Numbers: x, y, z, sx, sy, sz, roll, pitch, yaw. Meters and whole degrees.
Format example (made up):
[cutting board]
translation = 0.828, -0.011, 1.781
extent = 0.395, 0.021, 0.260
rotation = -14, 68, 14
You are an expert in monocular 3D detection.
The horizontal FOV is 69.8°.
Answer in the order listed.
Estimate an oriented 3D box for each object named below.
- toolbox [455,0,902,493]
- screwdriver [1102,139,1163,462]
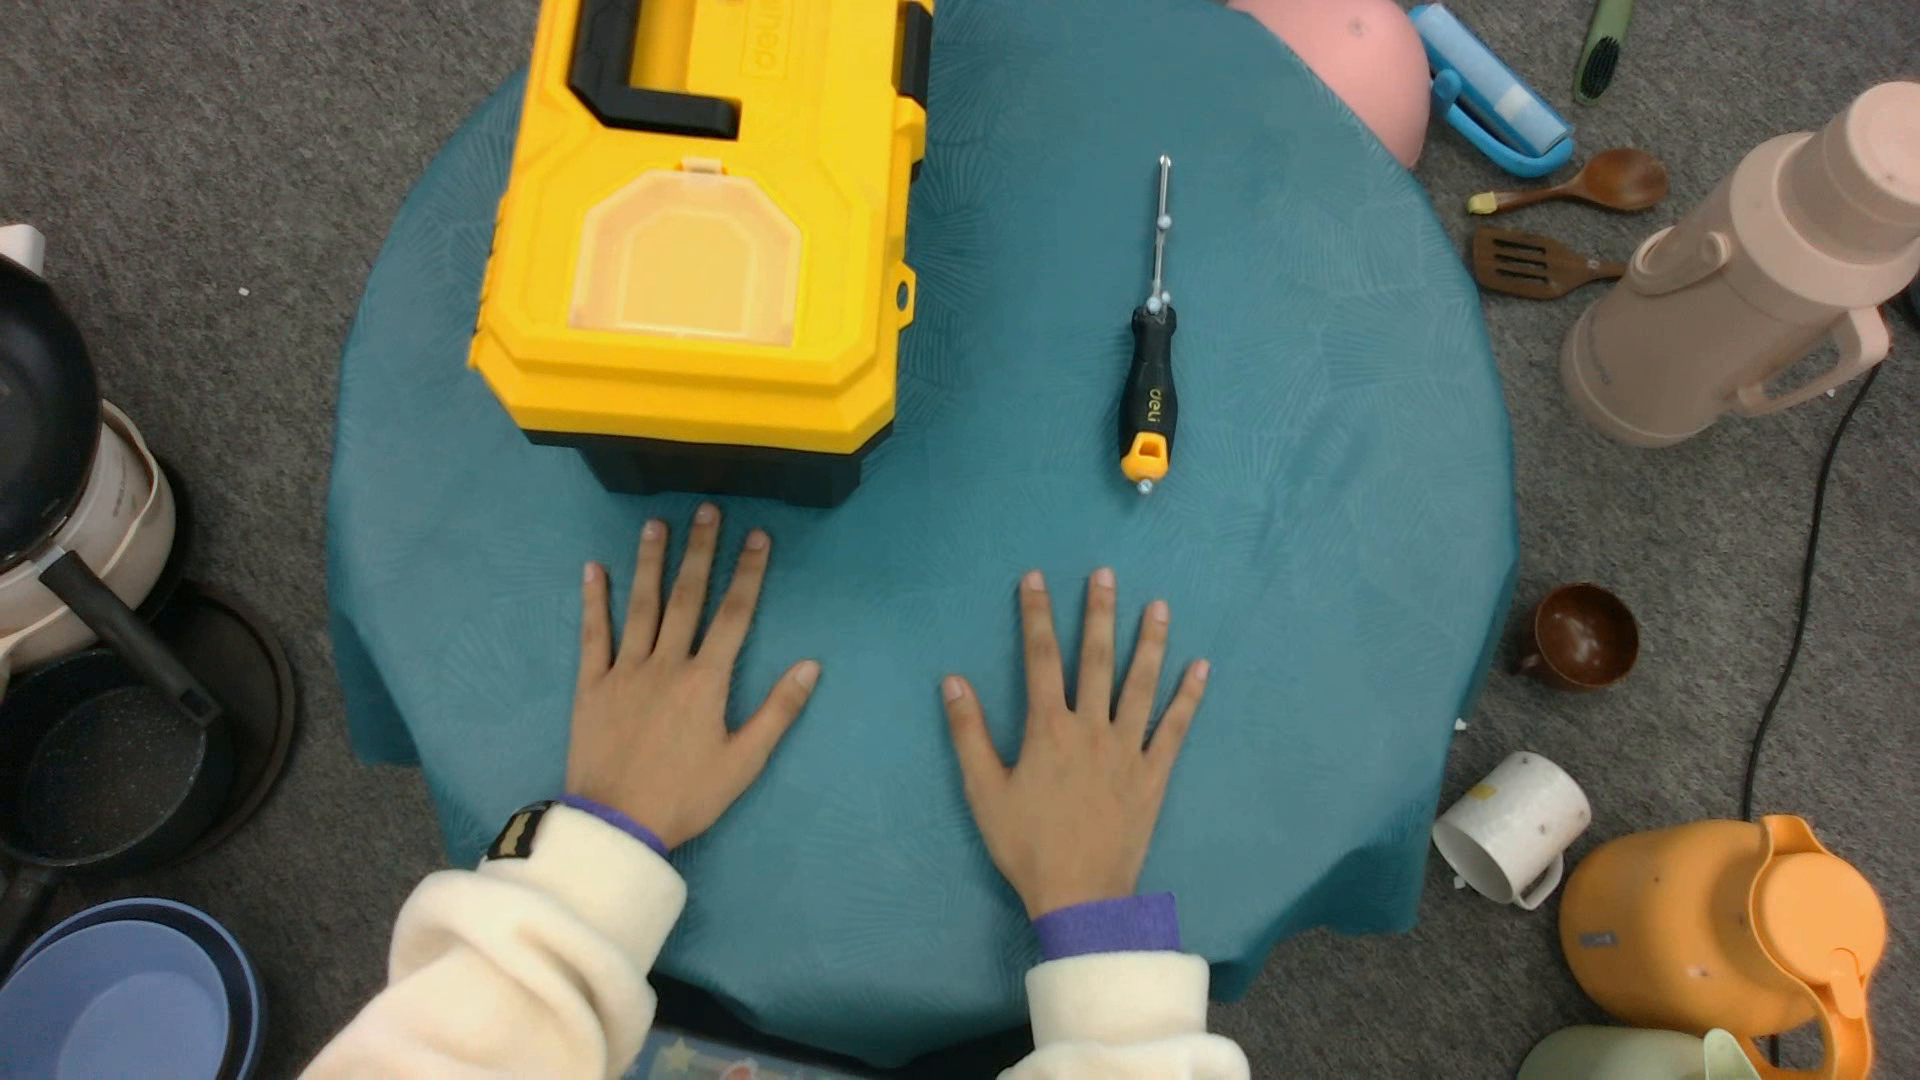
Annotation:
[toolbox]
translation = -0.113, -0.201, 0.648
extent = 0.181, 0.172, 0.352
rotation = 4, 71, -4
[screwdriver]
translation = 0.095, -0.132, 0.719
extent = 0.031, 0.031, 0.197
rotation = 8, 70, -2
